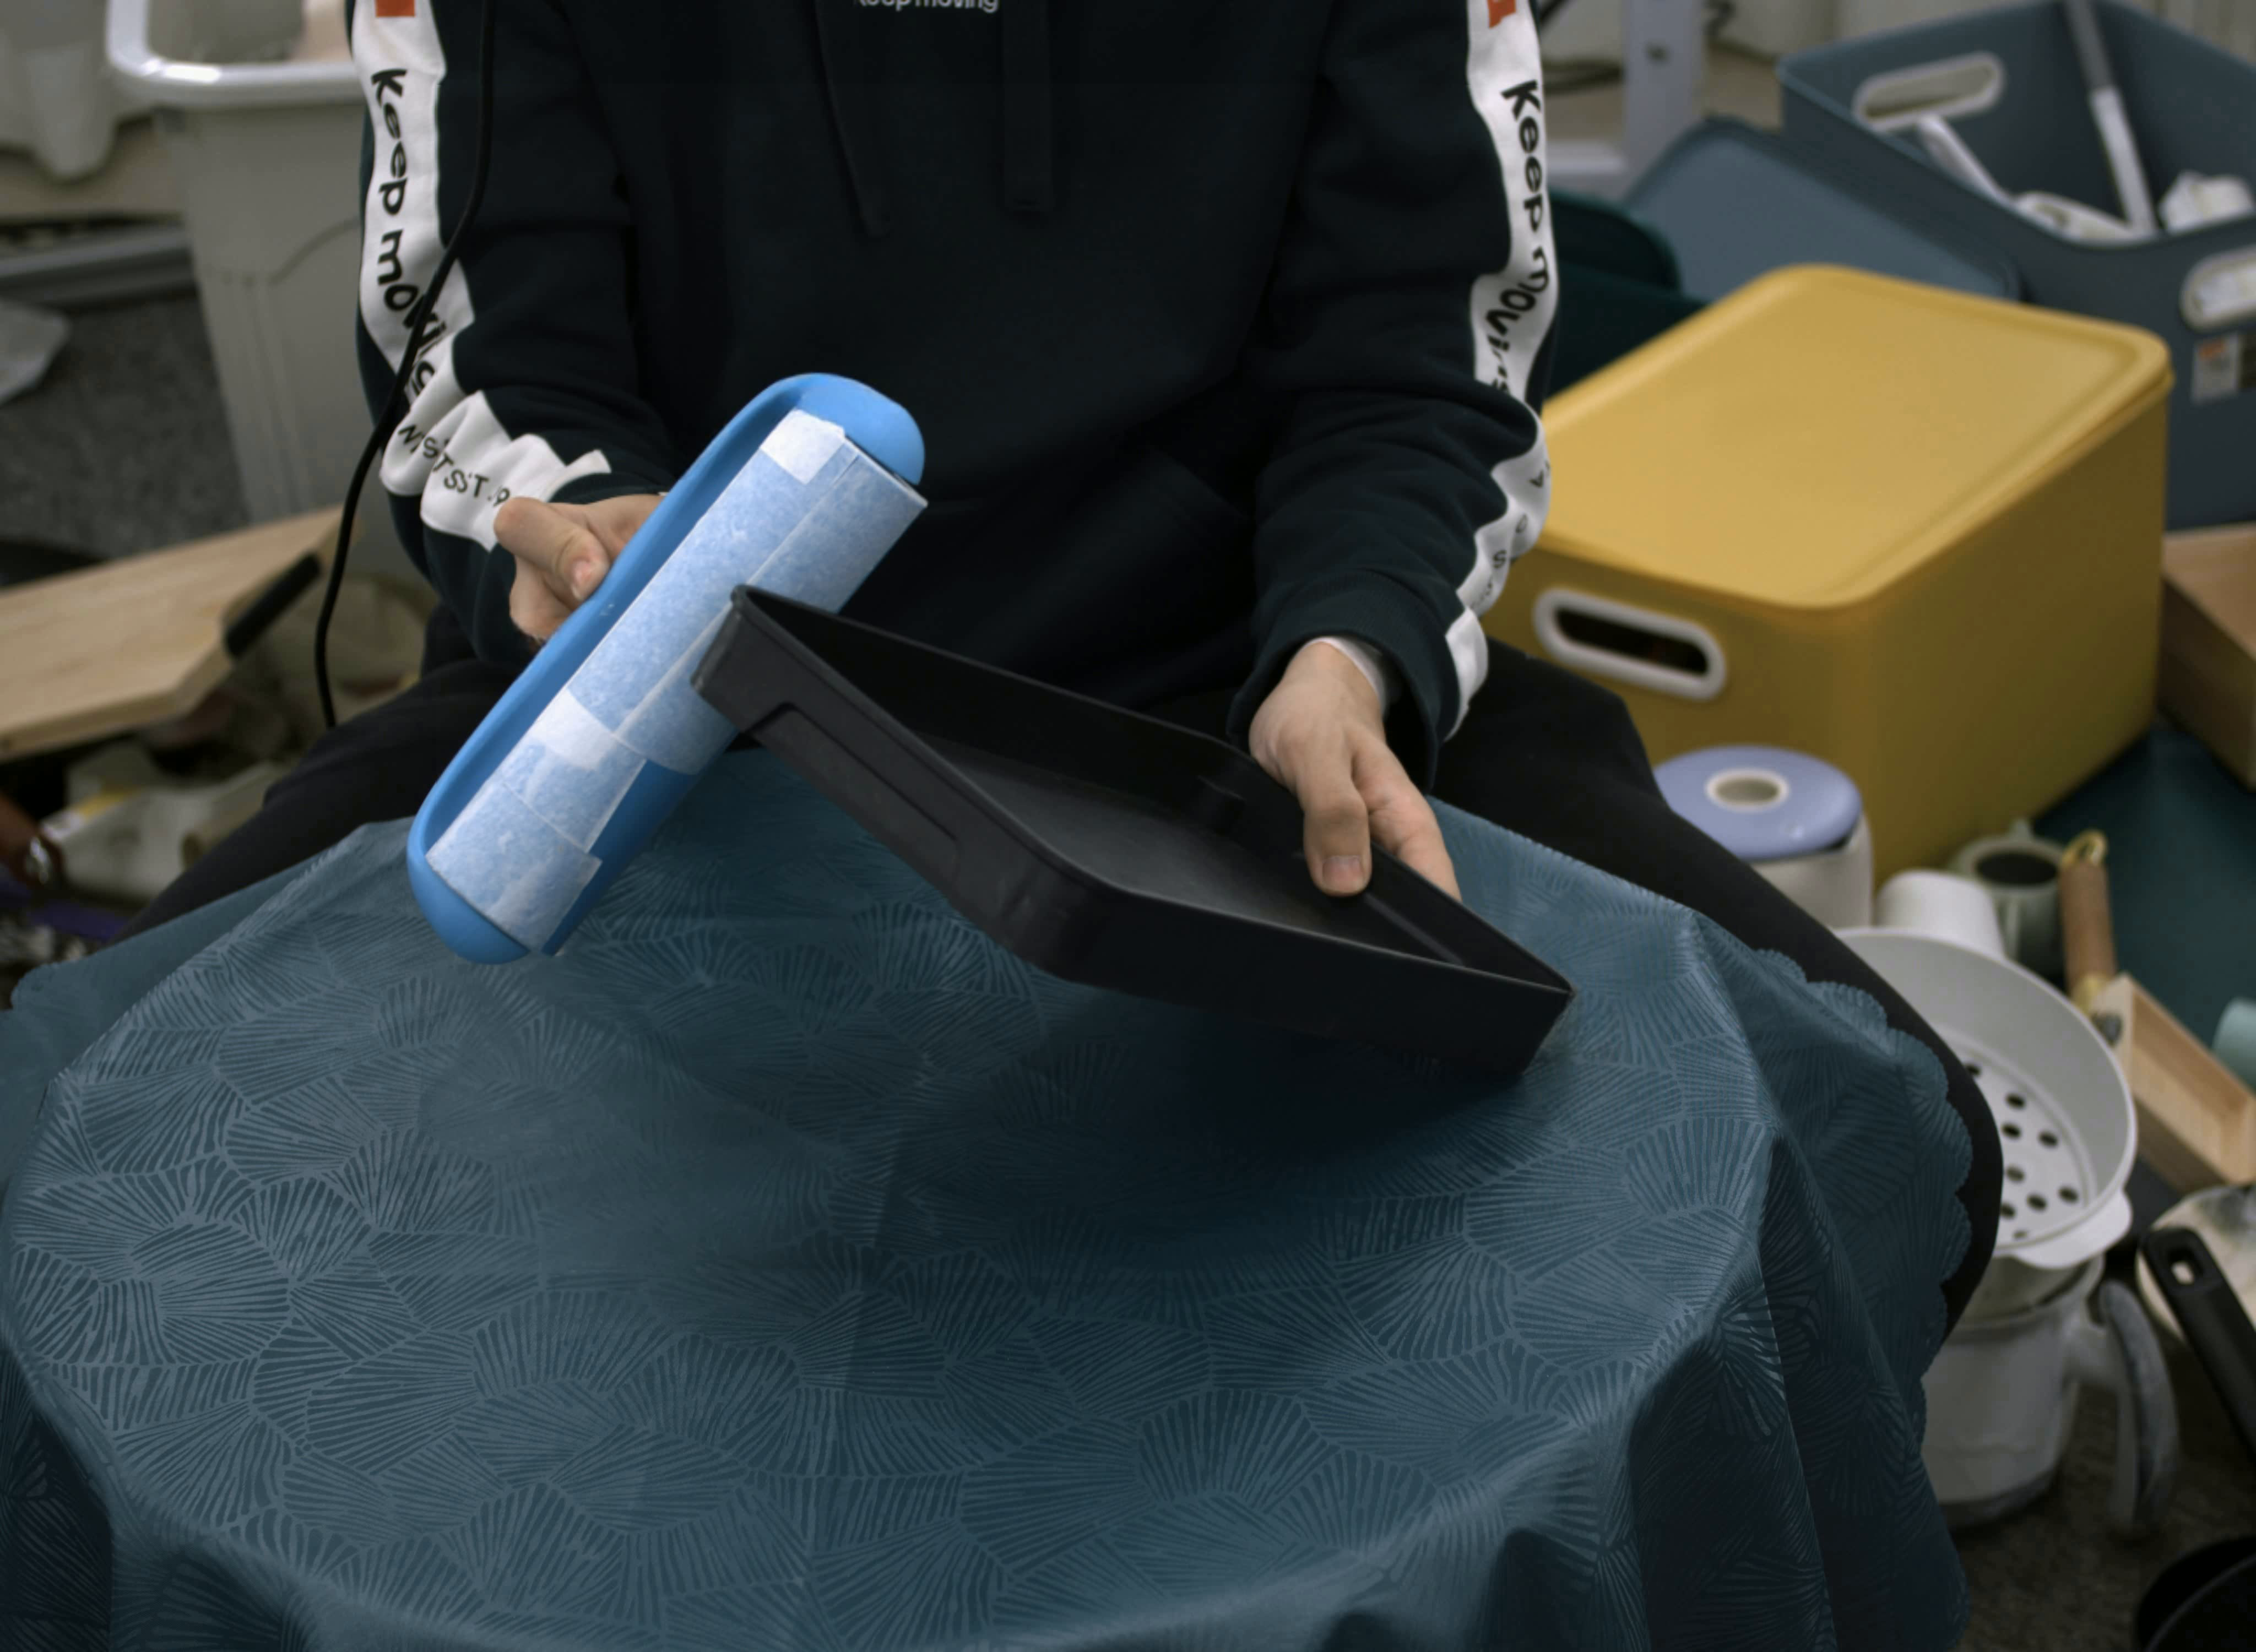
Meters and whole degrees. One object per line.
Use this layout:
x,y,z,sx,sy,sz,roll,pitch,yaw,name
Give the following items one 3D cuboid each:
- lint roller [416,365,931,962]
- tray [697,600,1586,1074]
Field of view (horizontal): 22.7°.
-0.154,-0.058,1.875,0.067,0.229,0.180,38,-1,-12,lint roller
0.009,0.007,1.841,0.185,0.037,0.318,36,12,32,tray
